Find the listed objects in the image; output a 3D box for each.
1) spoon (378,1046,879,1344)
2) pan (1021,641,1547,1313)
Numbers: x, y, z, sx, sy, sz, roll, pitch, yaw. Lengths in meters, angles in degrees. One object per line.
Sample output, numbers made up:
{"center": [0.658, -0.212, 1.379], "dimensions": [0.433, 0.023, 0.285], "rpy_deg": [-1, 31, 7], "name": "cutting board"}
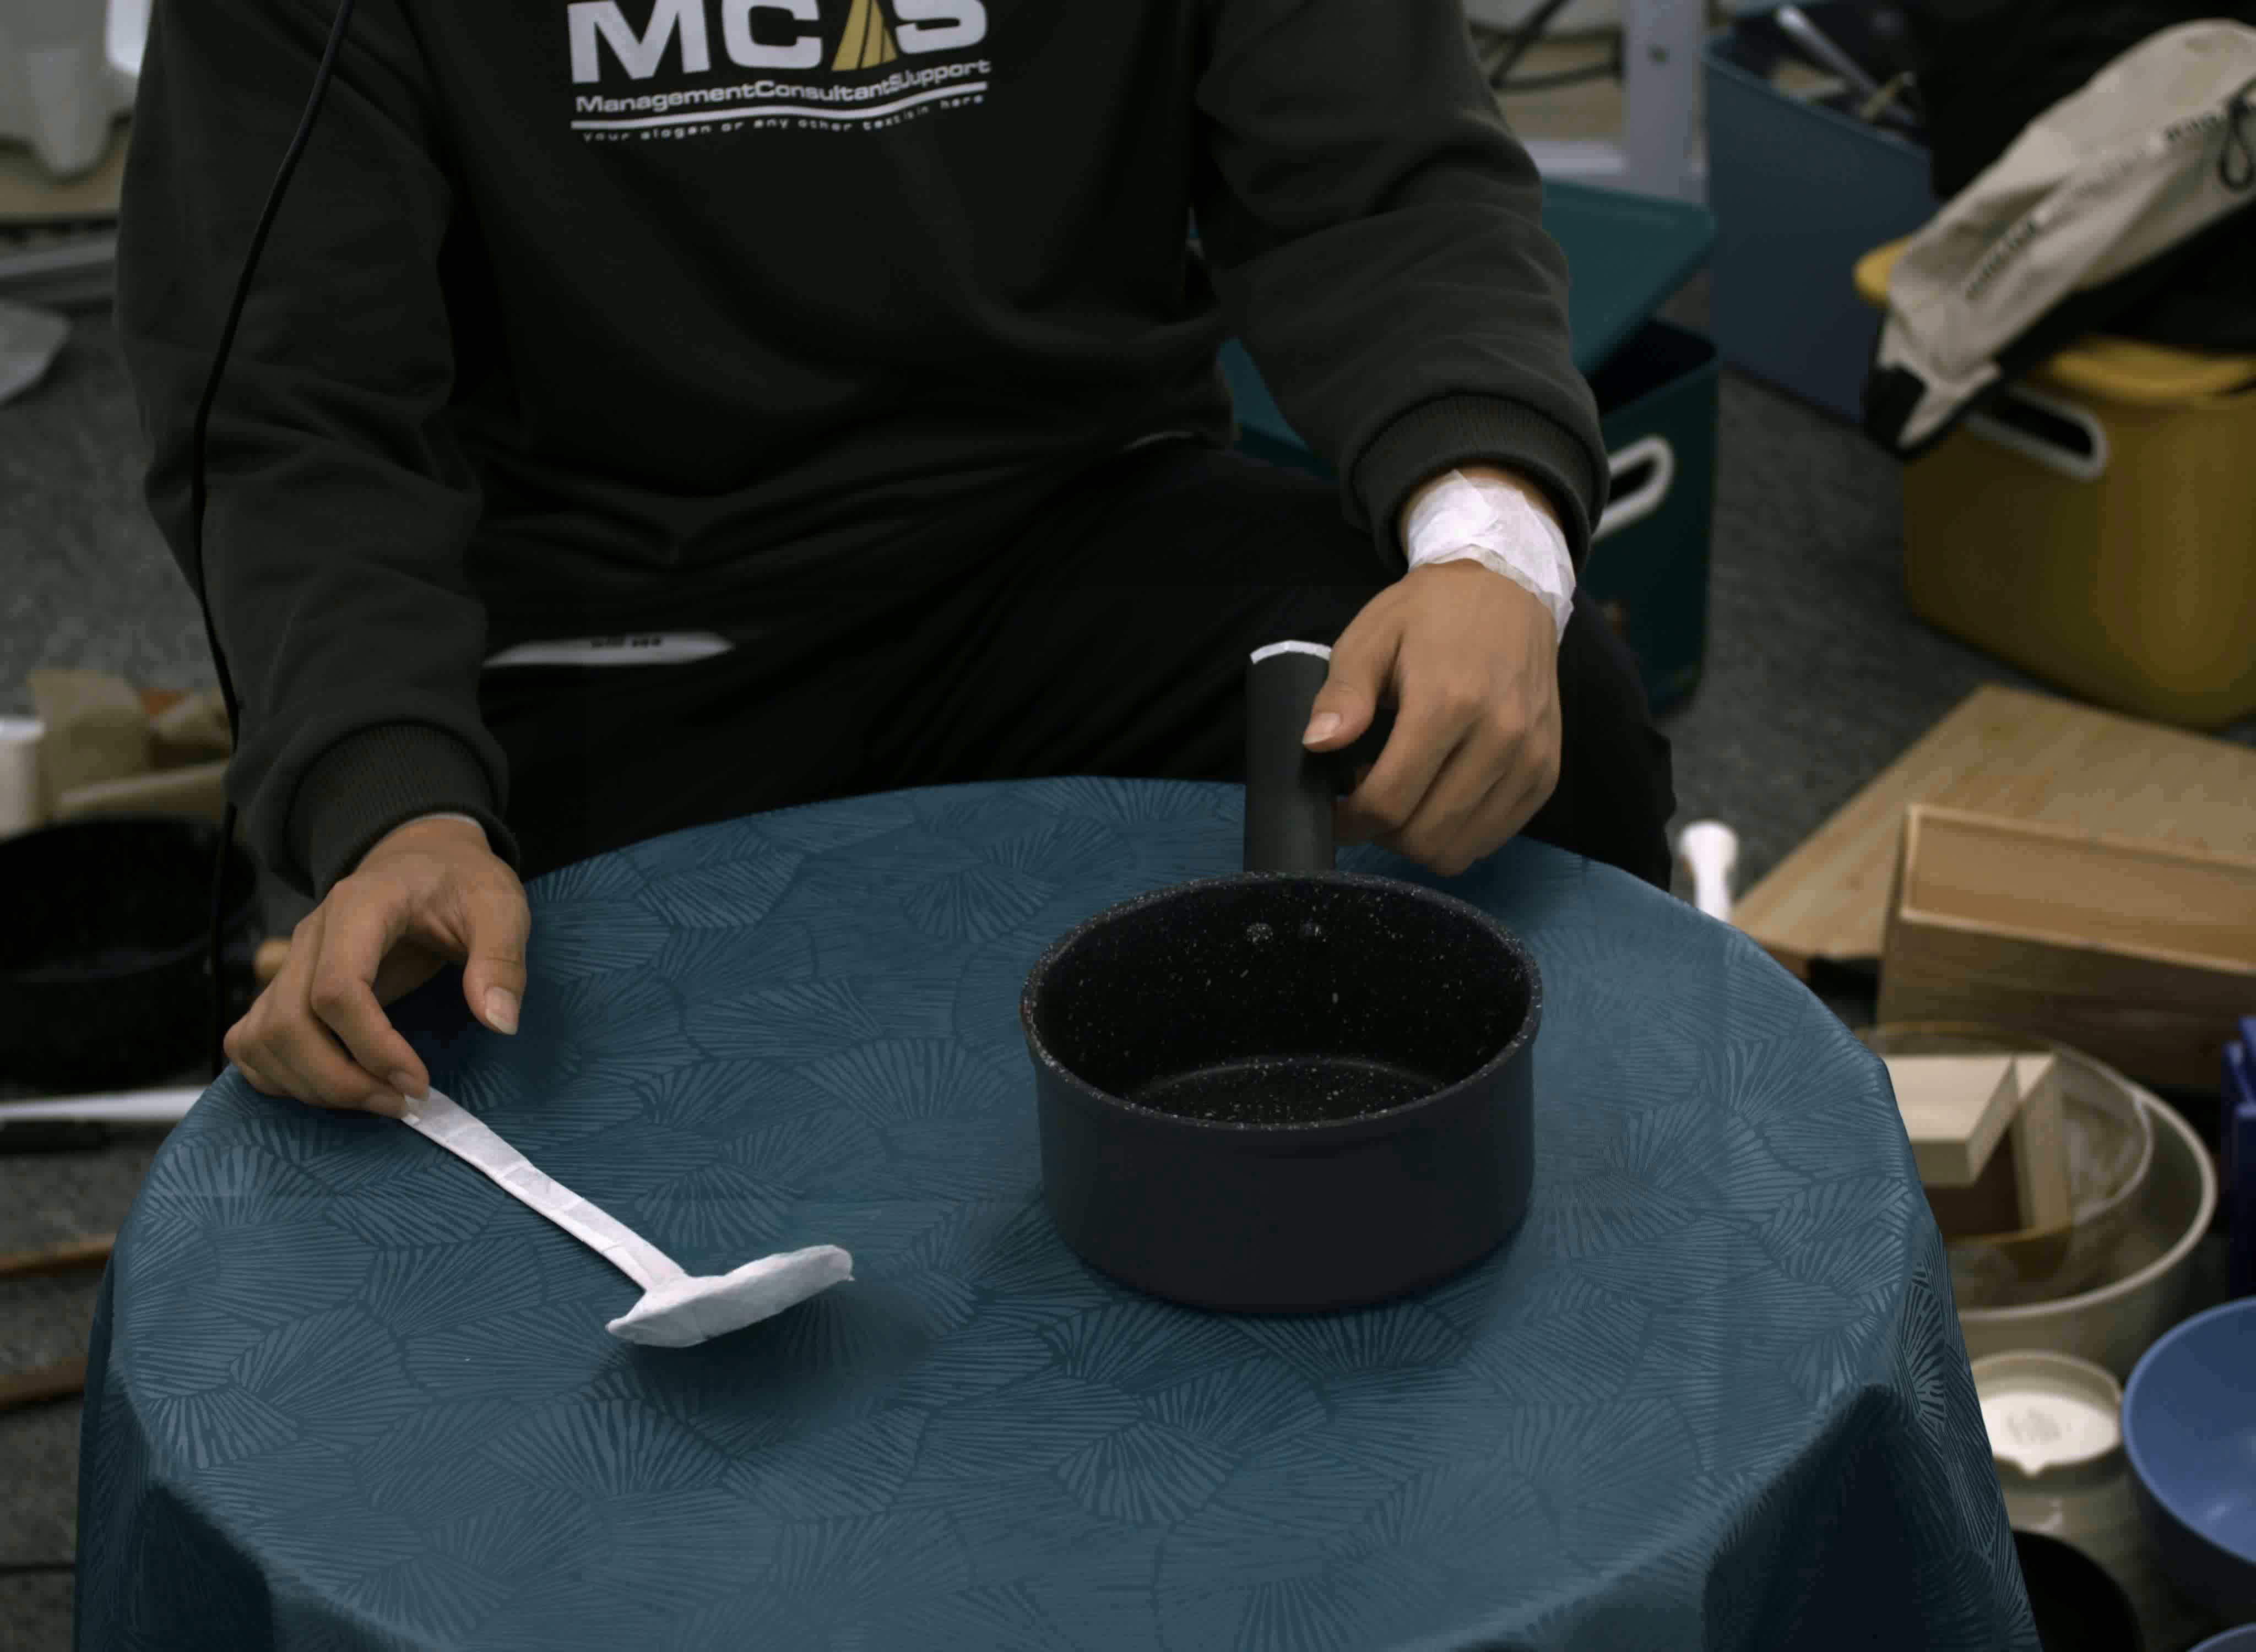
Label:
{"center": [-0.176, 0.105, 1.848], "dimensions": [0.101, 0.059, 0.278], "rpy_deg": [-18, 30, -30], "name": "spoon"}
{"center": [0.059, 0.048, 1.910], "dimensions": [0.171, 0.085, 0.334], "rpy_deg": [1, 28, 5], "name": "pan"}
